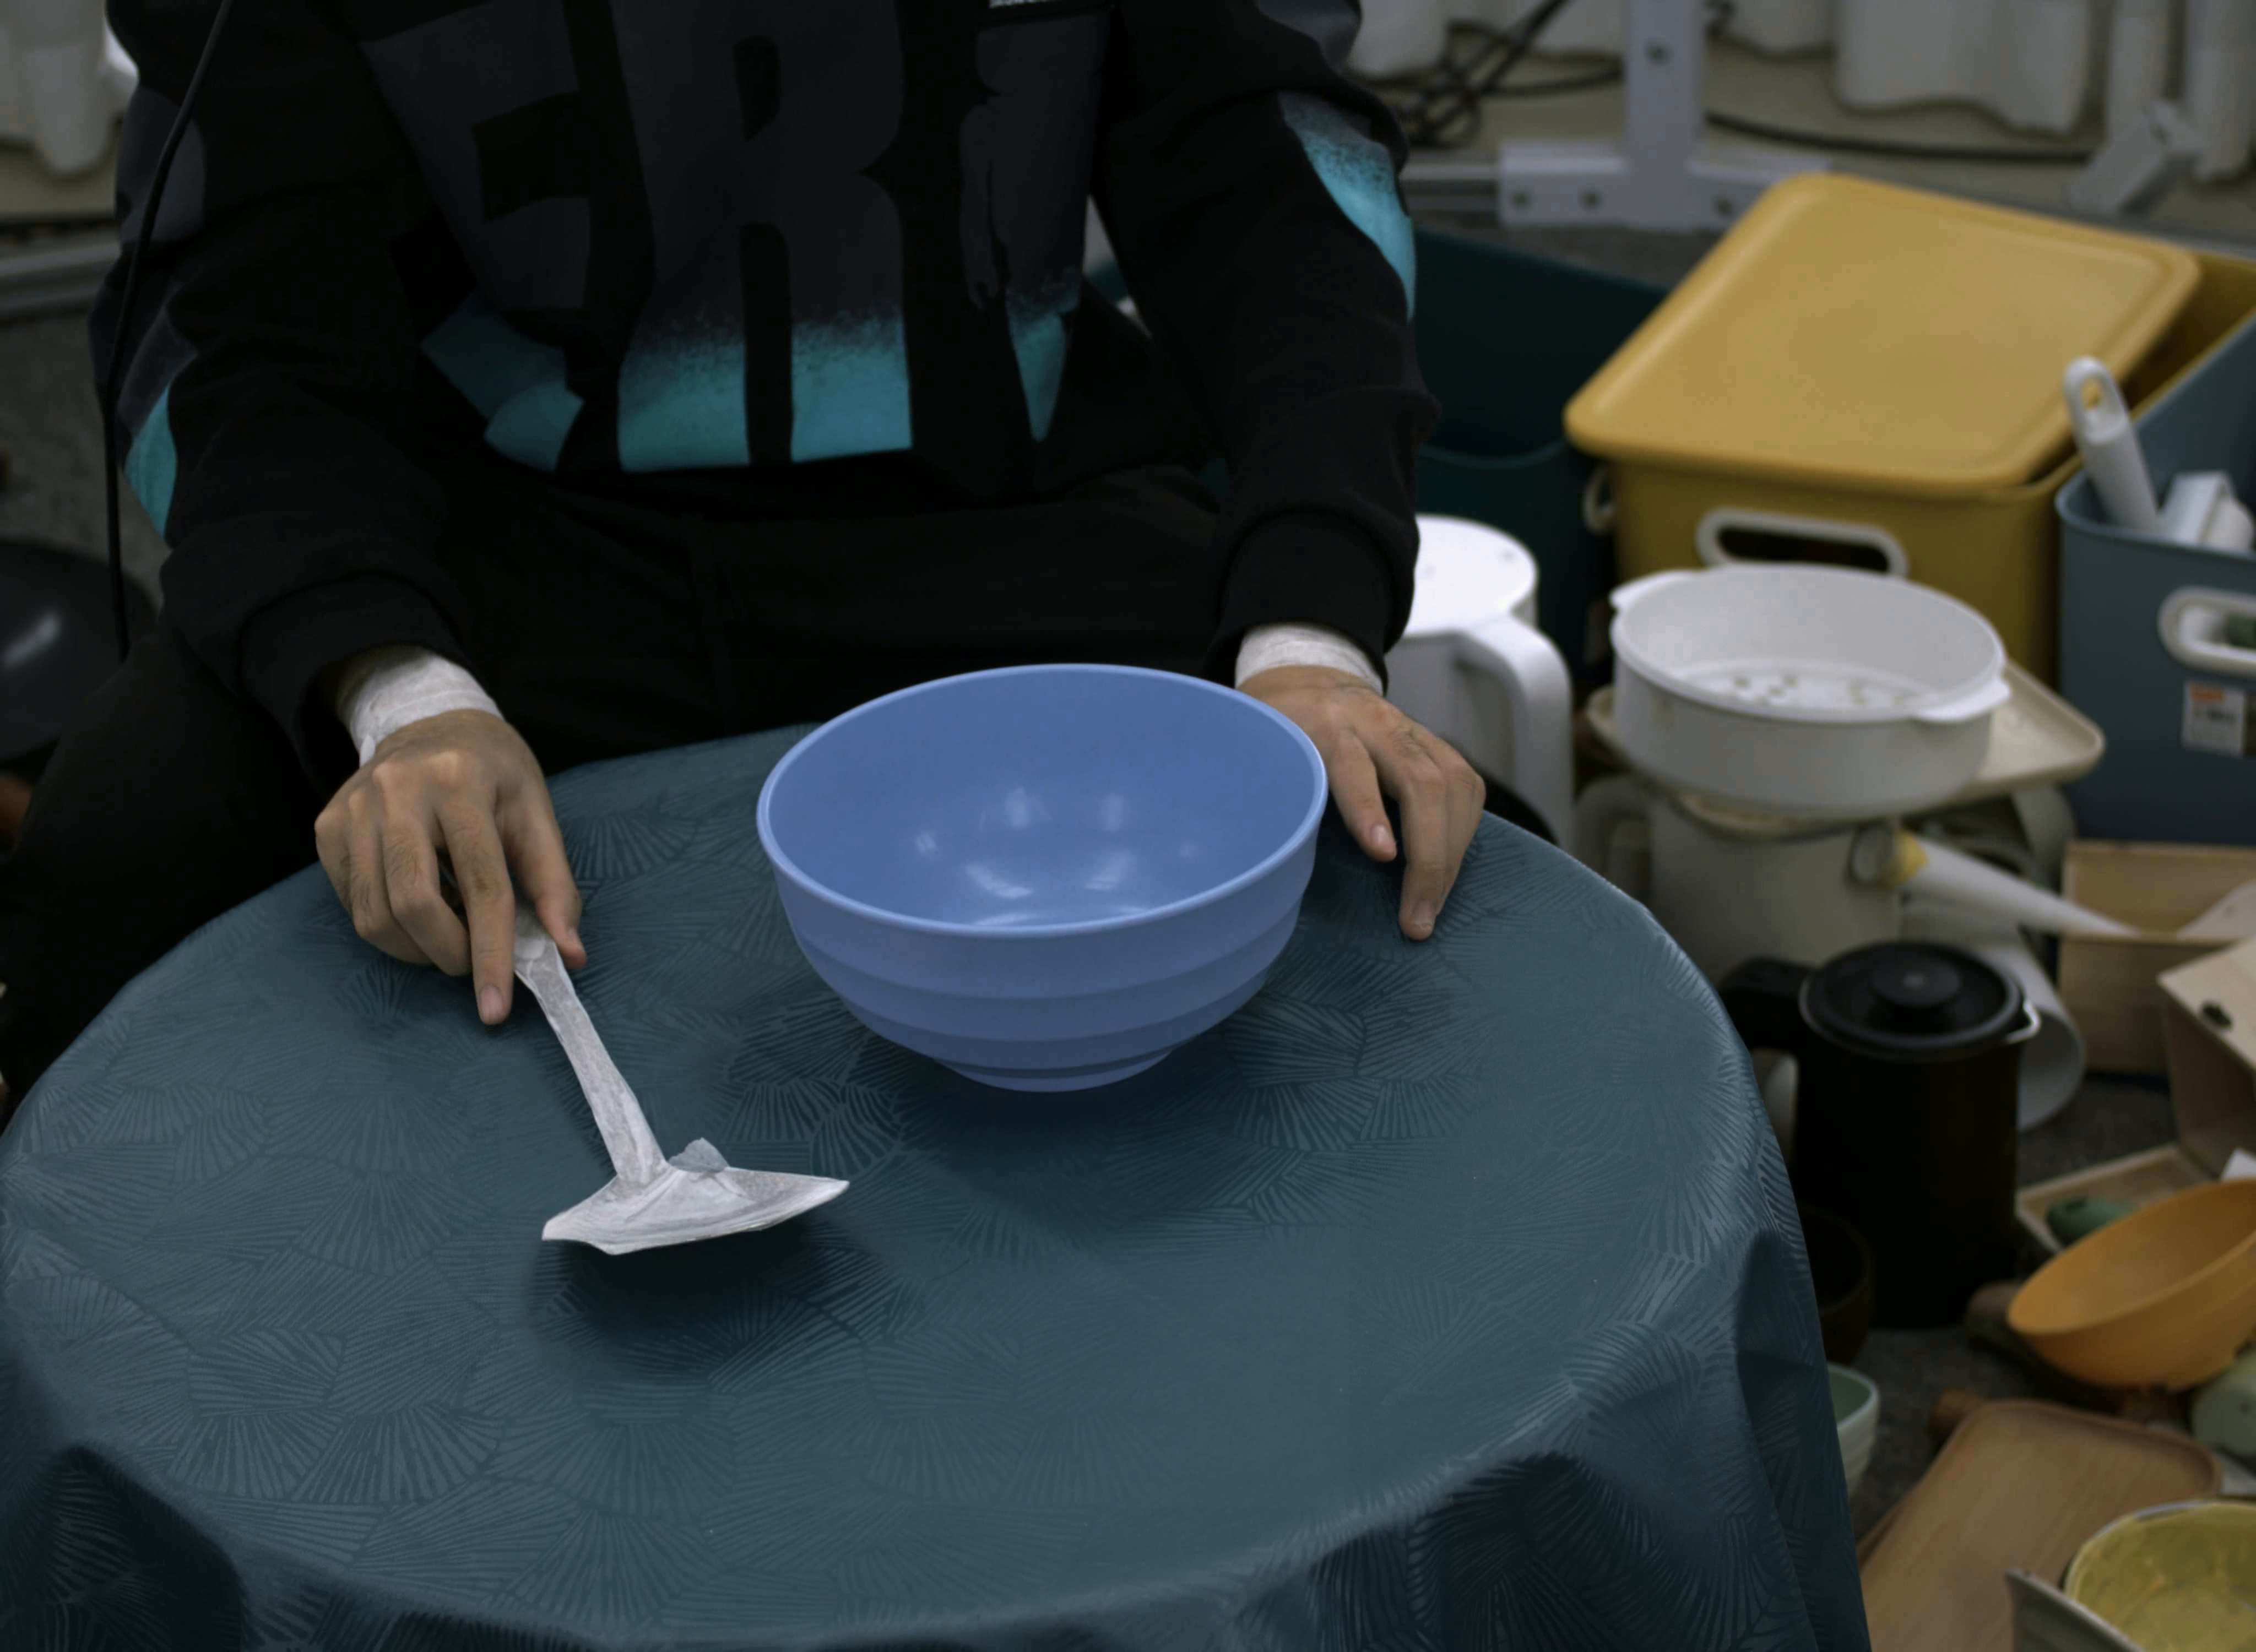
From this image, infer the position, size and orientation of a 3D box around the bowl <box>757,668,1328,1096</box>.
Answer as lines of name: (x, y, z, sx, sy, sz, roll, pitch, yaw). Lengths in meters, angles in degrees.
bowl: (-0.026, 0.030, 1.941, 0.195, 0.094, 0.199, -3, 27, 2)

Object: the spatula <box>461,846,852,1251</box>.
spatula: (-0.186, 0.069, 1.940, 0.099, 0.044, 0.368, -12, 28, -16)
